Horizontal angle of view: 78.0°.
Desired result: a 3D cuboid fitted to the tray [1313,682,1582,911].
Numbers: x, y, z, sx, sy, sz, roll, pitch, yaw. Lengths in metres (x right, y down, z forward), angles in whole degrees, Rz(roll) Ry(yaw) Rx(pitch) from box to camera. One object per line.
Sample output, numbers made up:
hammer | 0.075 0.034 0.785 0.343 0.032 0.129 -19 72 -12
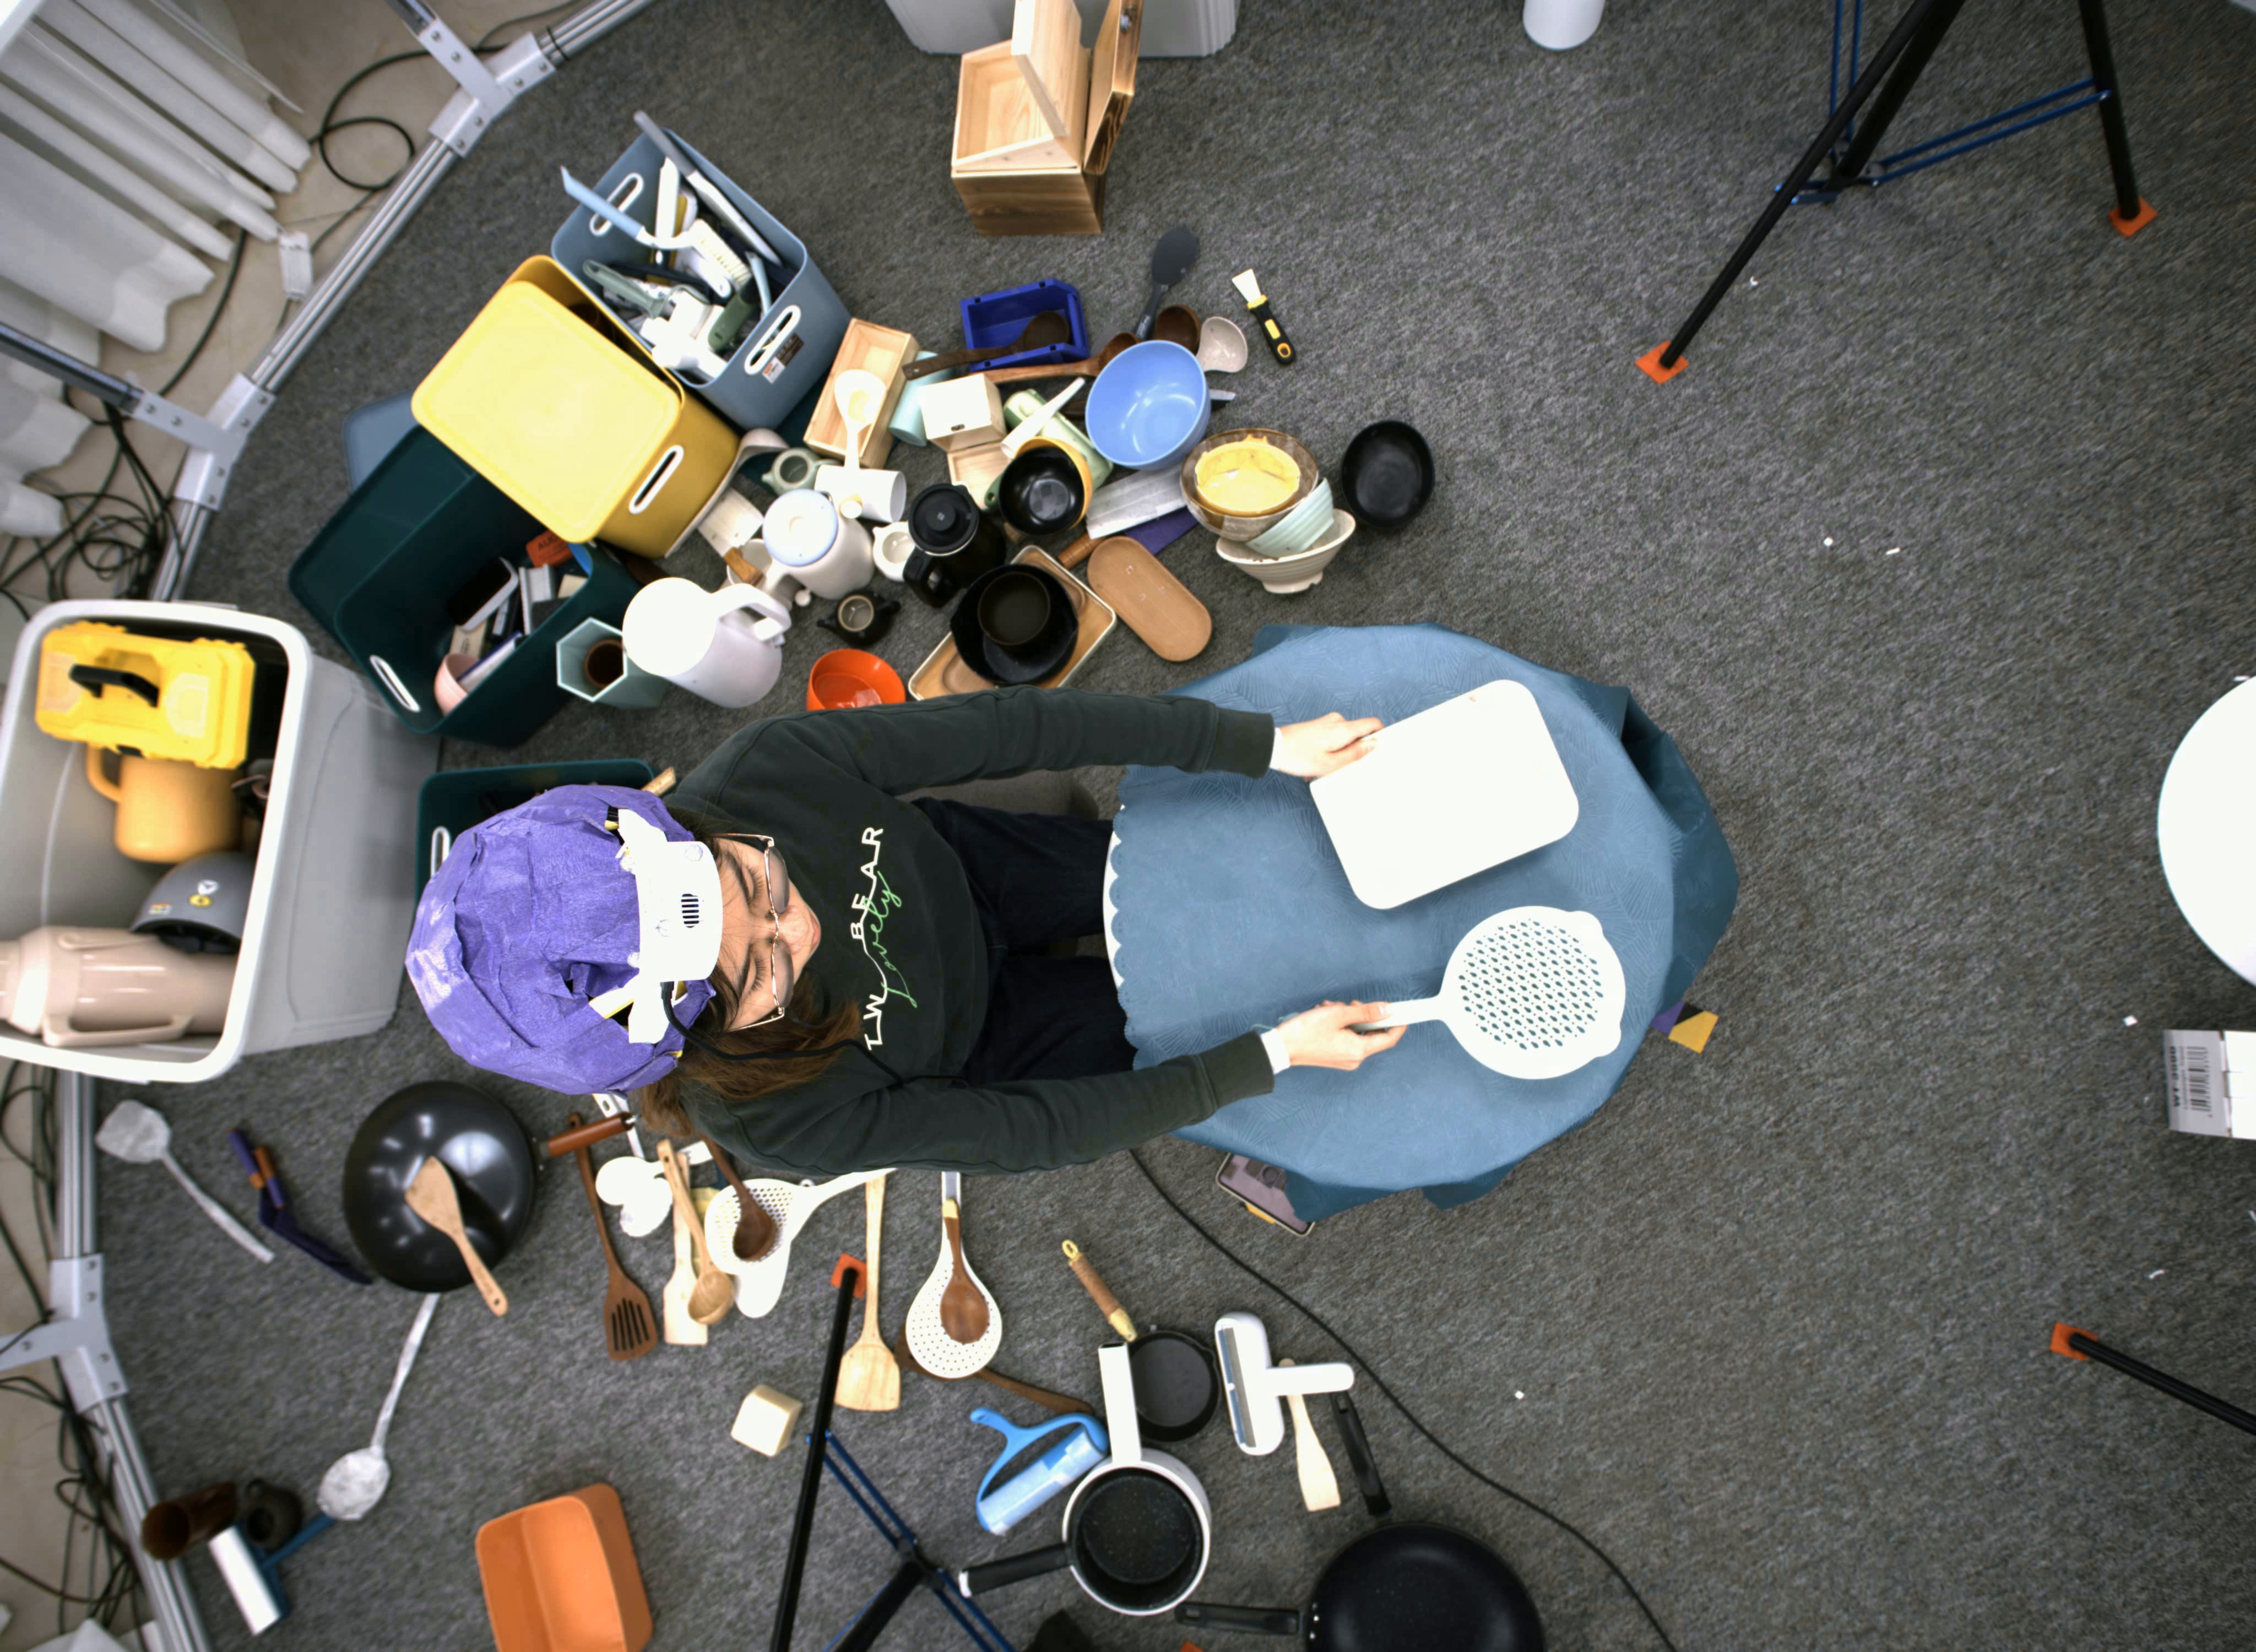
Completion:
tray | 0.320 -0.031 1.387 0.241 0.017 0.171 -24 91 11

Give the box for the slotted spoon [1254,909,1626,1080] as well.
slotted spoon | 0.302 0.179 1.365 0.360 0.075 0.170 -11 94 6
